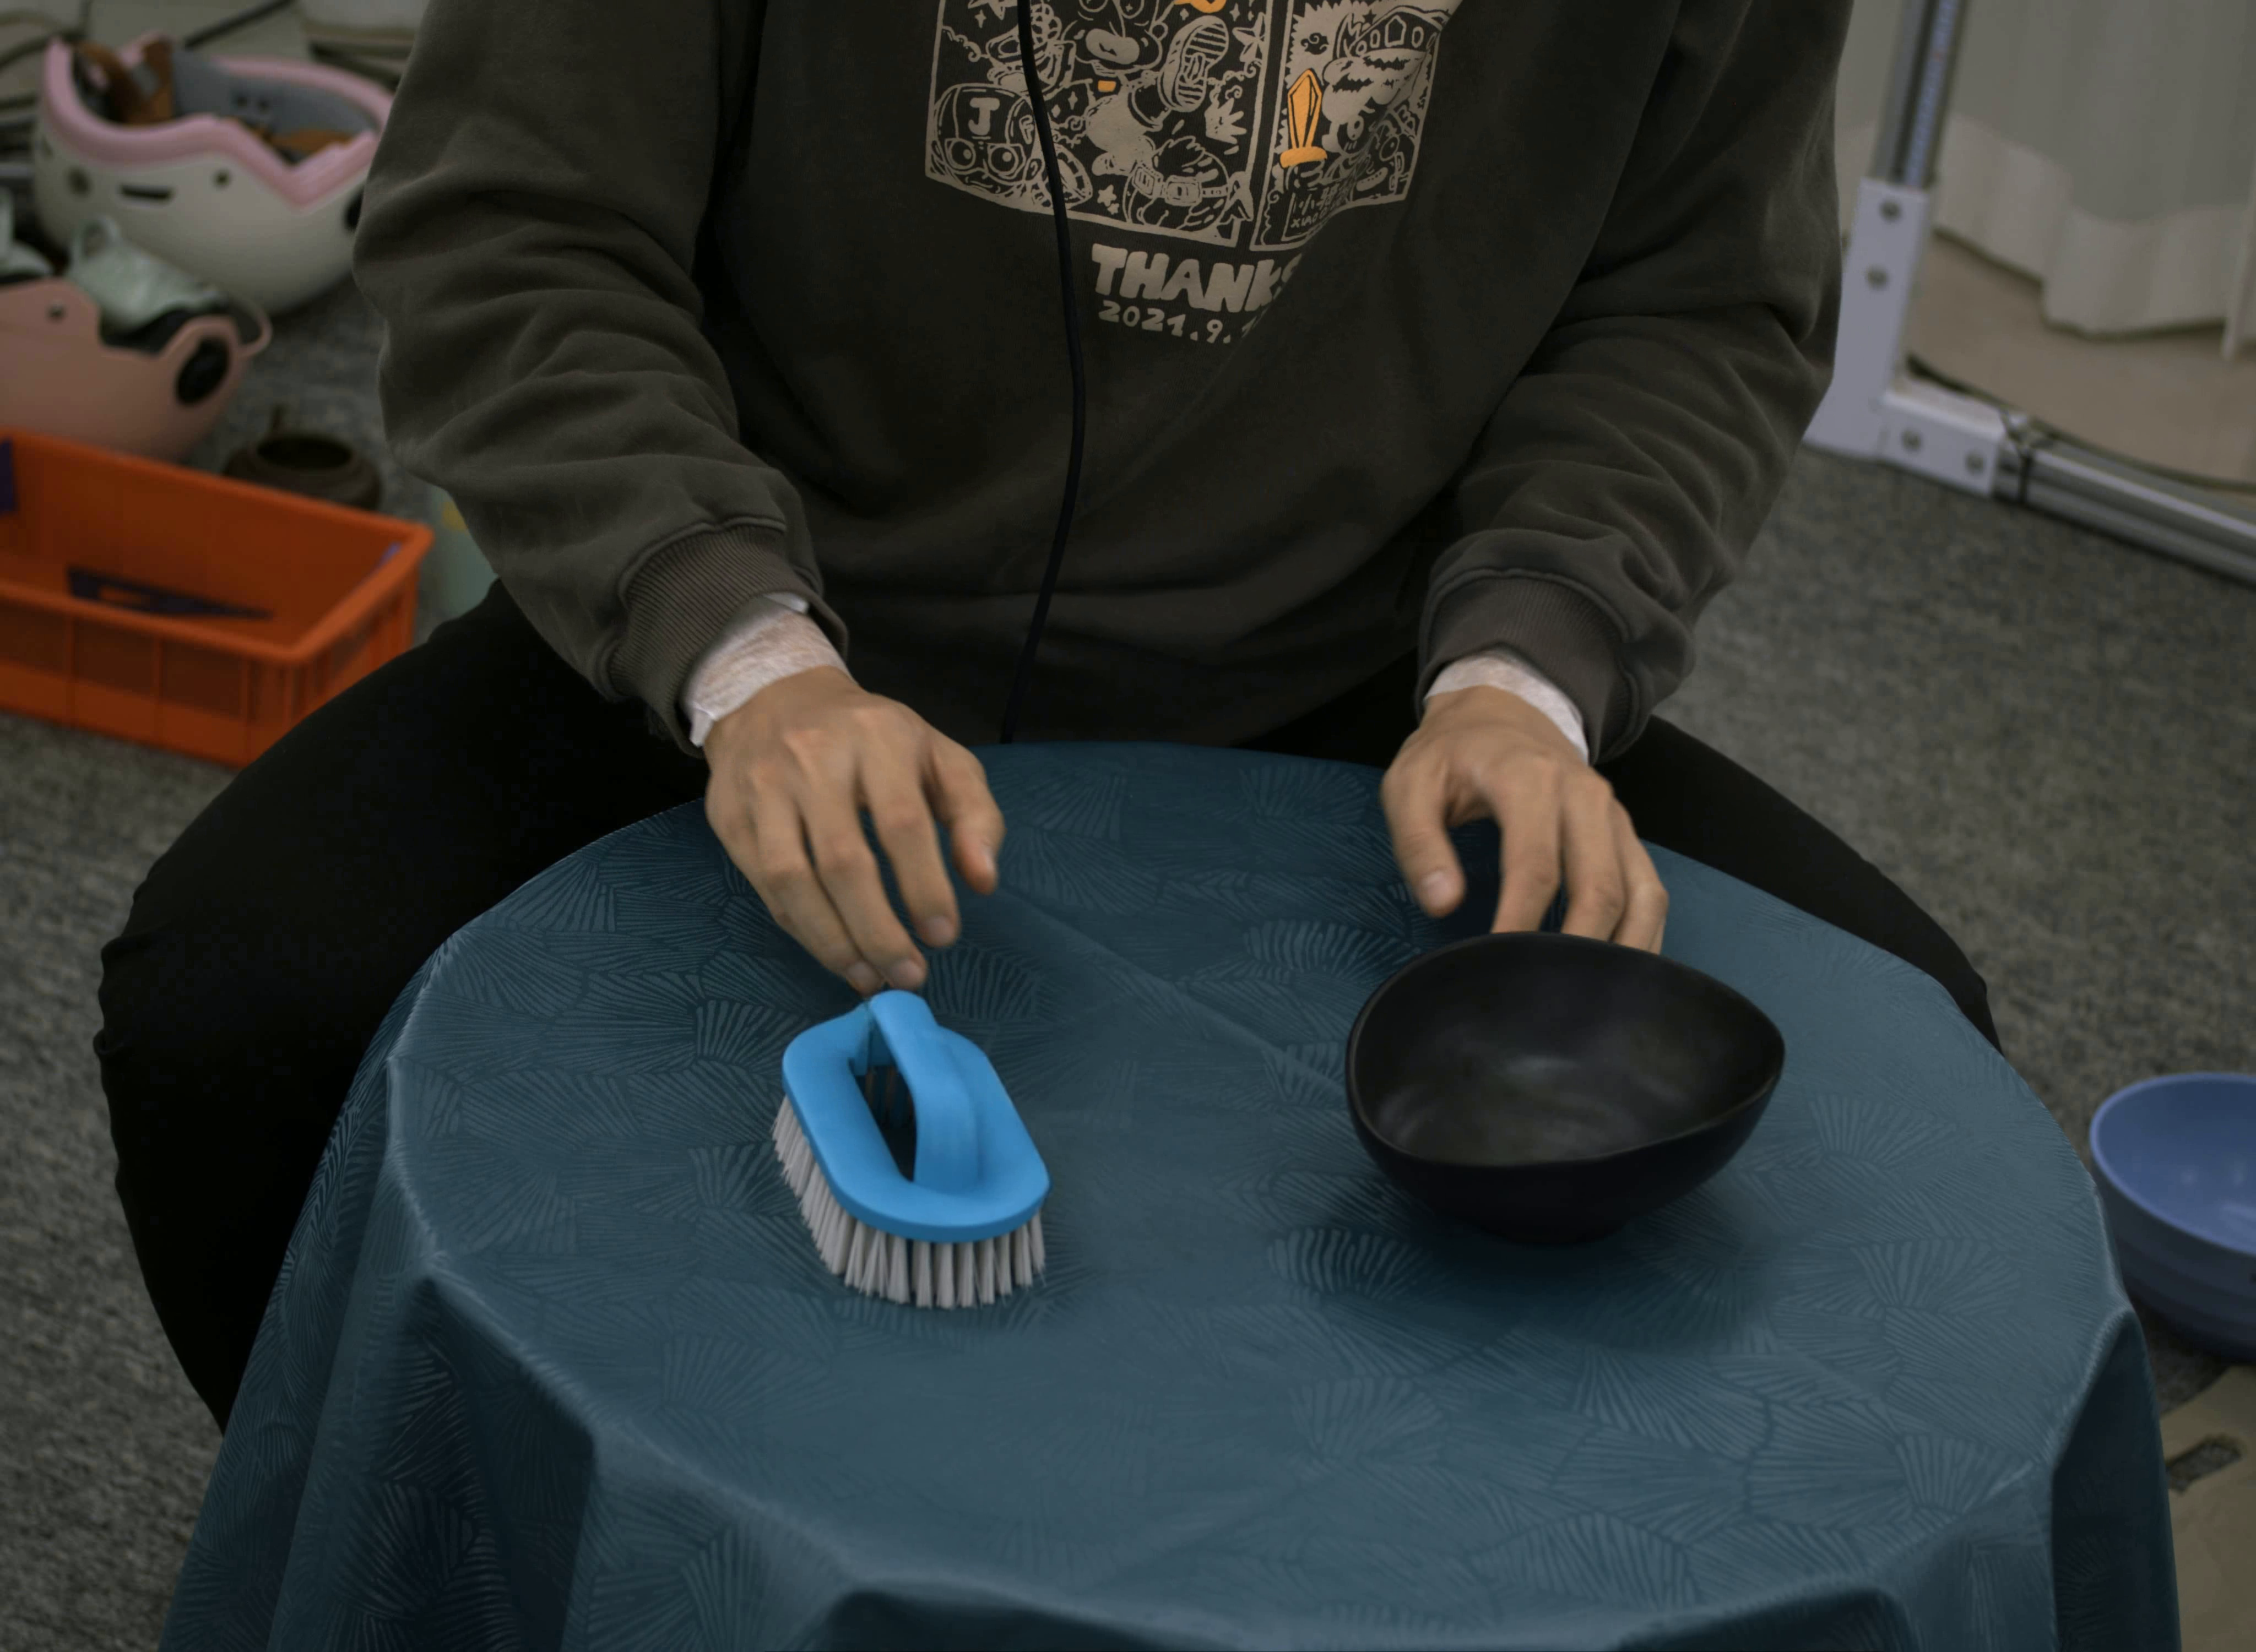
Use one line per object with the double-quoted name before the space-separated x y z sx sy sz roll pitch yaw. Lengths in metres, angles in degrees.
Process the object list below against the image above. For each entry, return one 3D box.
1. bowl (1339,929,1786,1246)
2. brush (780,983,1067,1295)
"bowl" 0.146 0.100 1.815 0.138 0.066 0.169 26 34 36
"brush" -0.070 0.095 1.772 0.084 0.063 0.143 -5 27 -13
